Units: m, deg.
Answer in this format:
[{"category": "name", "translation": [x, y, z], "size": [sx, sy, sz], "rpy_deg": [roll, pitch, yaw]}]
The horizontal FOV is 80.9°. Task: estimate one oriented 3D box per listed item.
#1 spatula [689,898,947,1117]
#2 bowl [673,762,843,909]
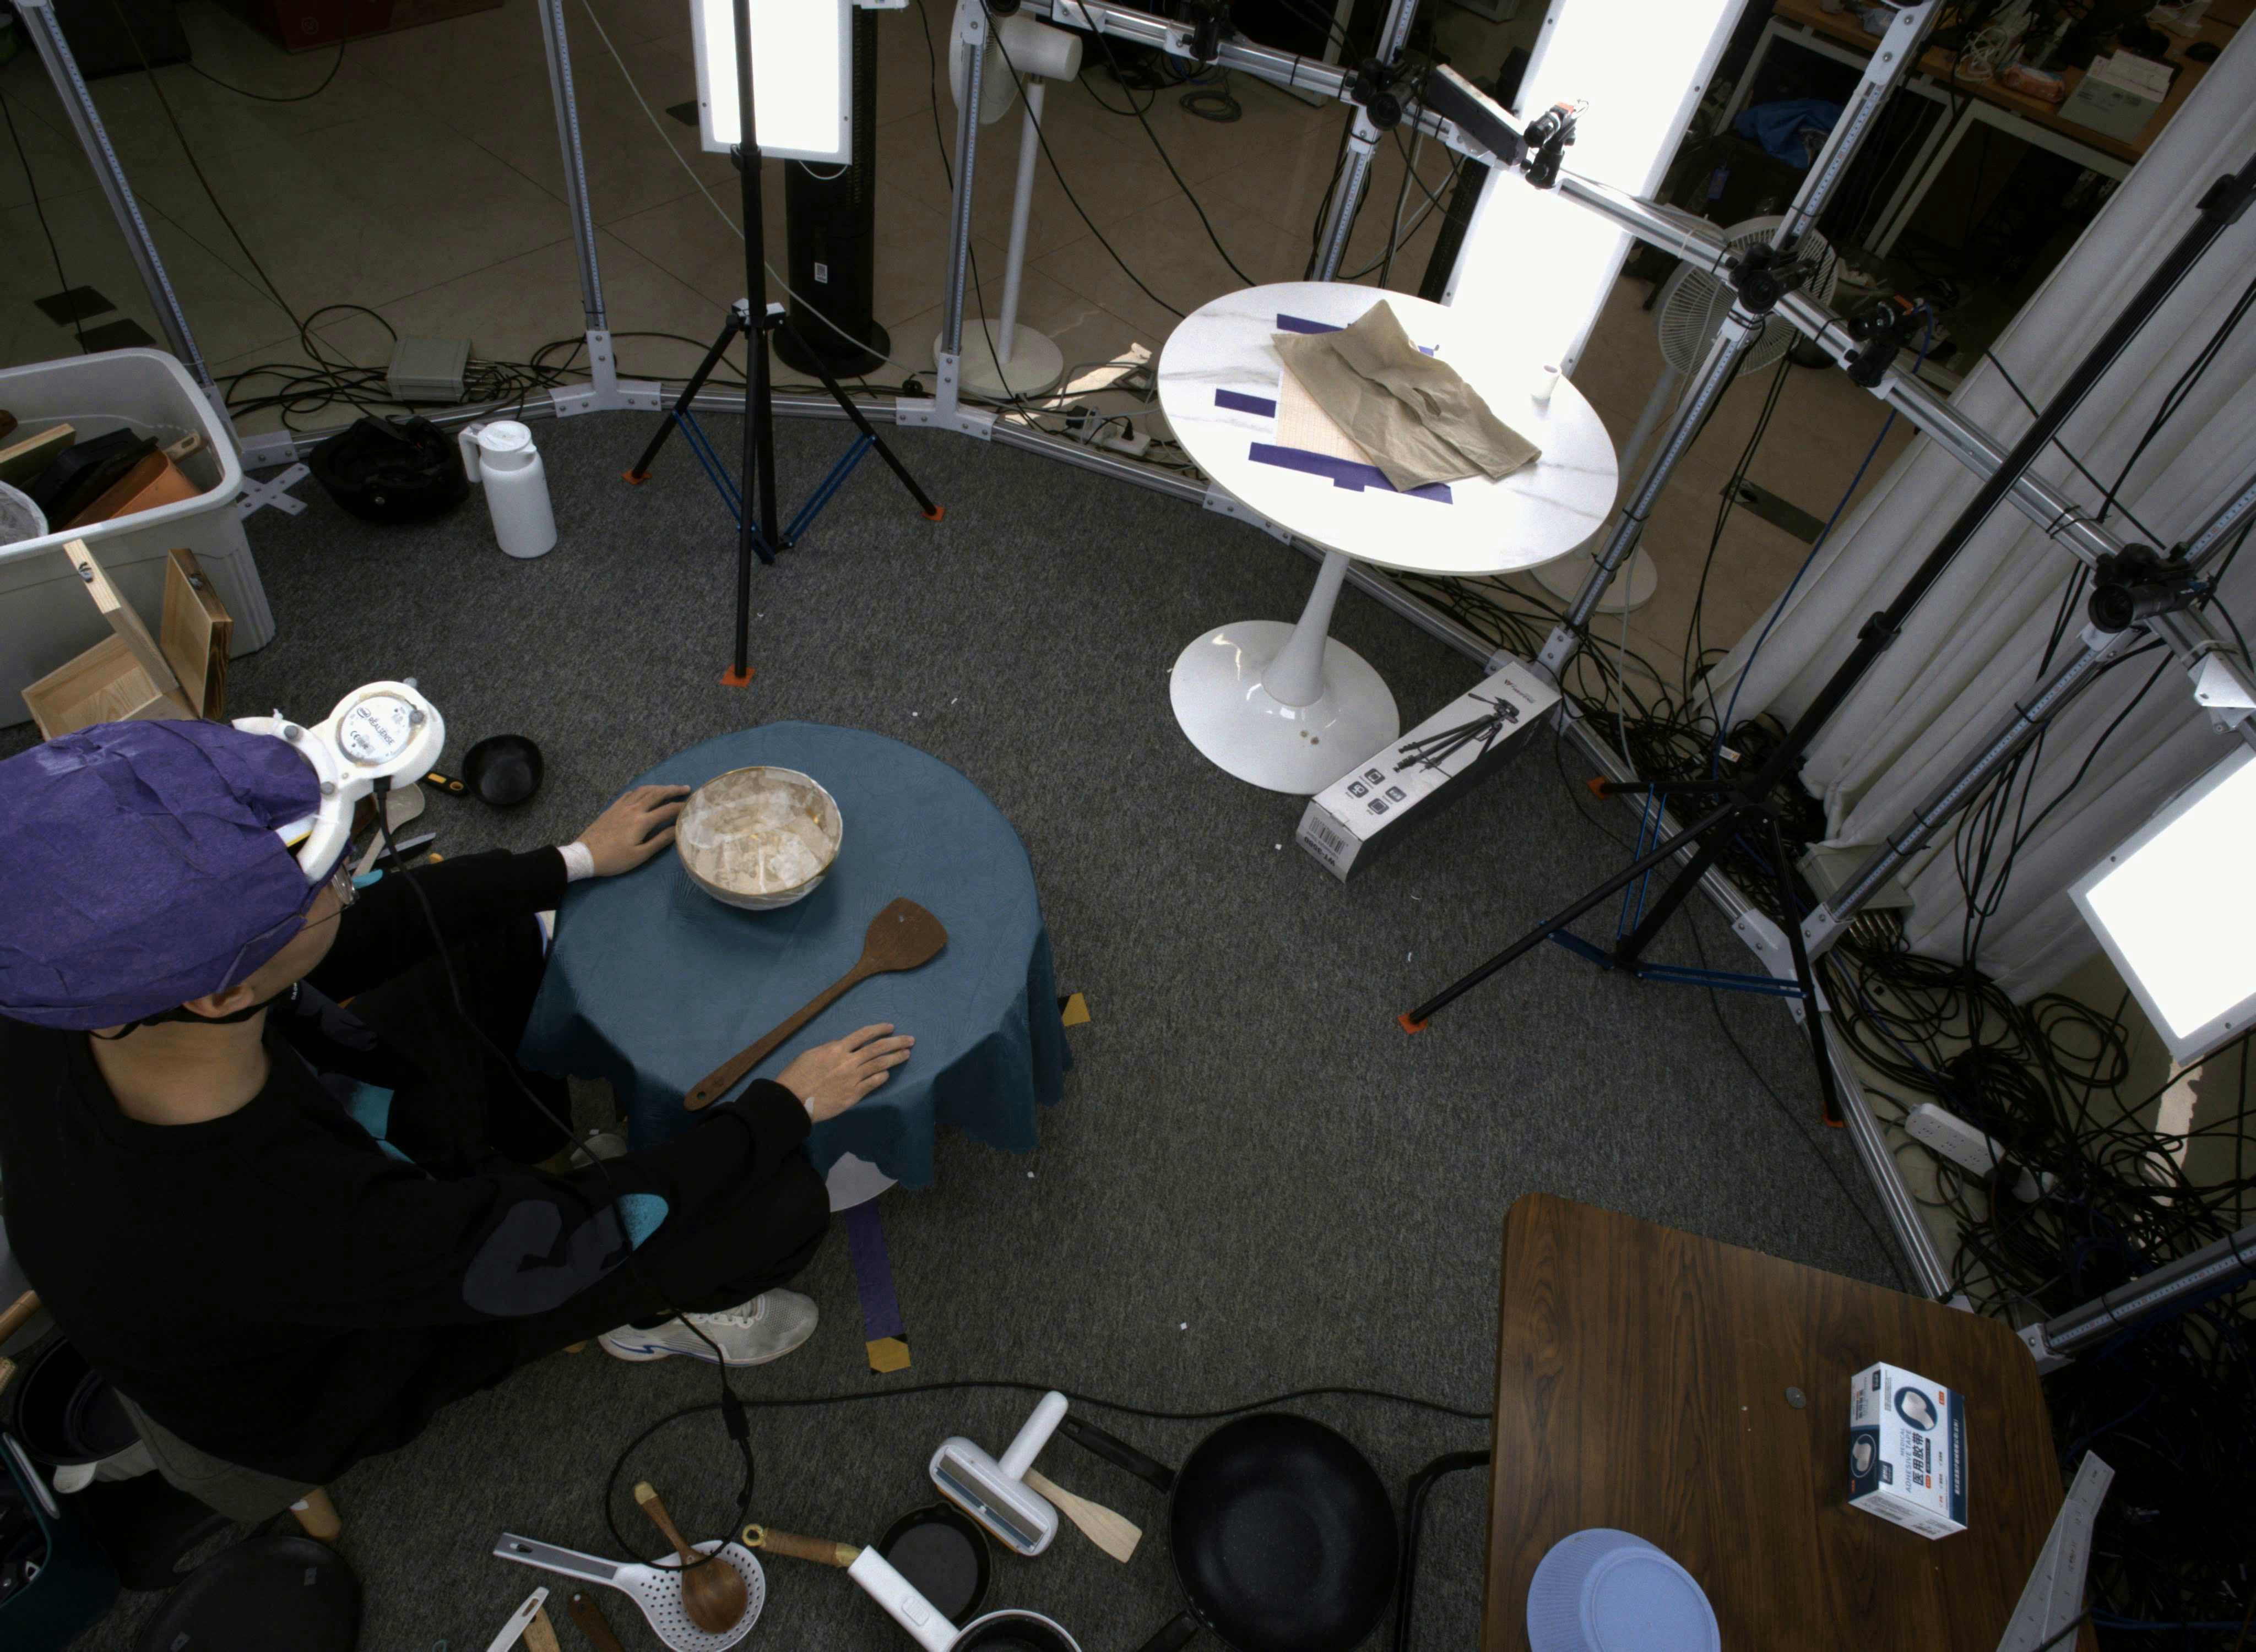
[{"category": "spatula", "translation": [-0.377, 0.217, 1.571], "size": [0.094, 0.016, 0.386], "rpy_deg": [39, 55, 15]}, {"category": "bowl", "translation": [-0.467, 0.026, 1.638], "size": [0.214, 0.096, 0.211], "rpy_deg": [8, 54, -9]}]
